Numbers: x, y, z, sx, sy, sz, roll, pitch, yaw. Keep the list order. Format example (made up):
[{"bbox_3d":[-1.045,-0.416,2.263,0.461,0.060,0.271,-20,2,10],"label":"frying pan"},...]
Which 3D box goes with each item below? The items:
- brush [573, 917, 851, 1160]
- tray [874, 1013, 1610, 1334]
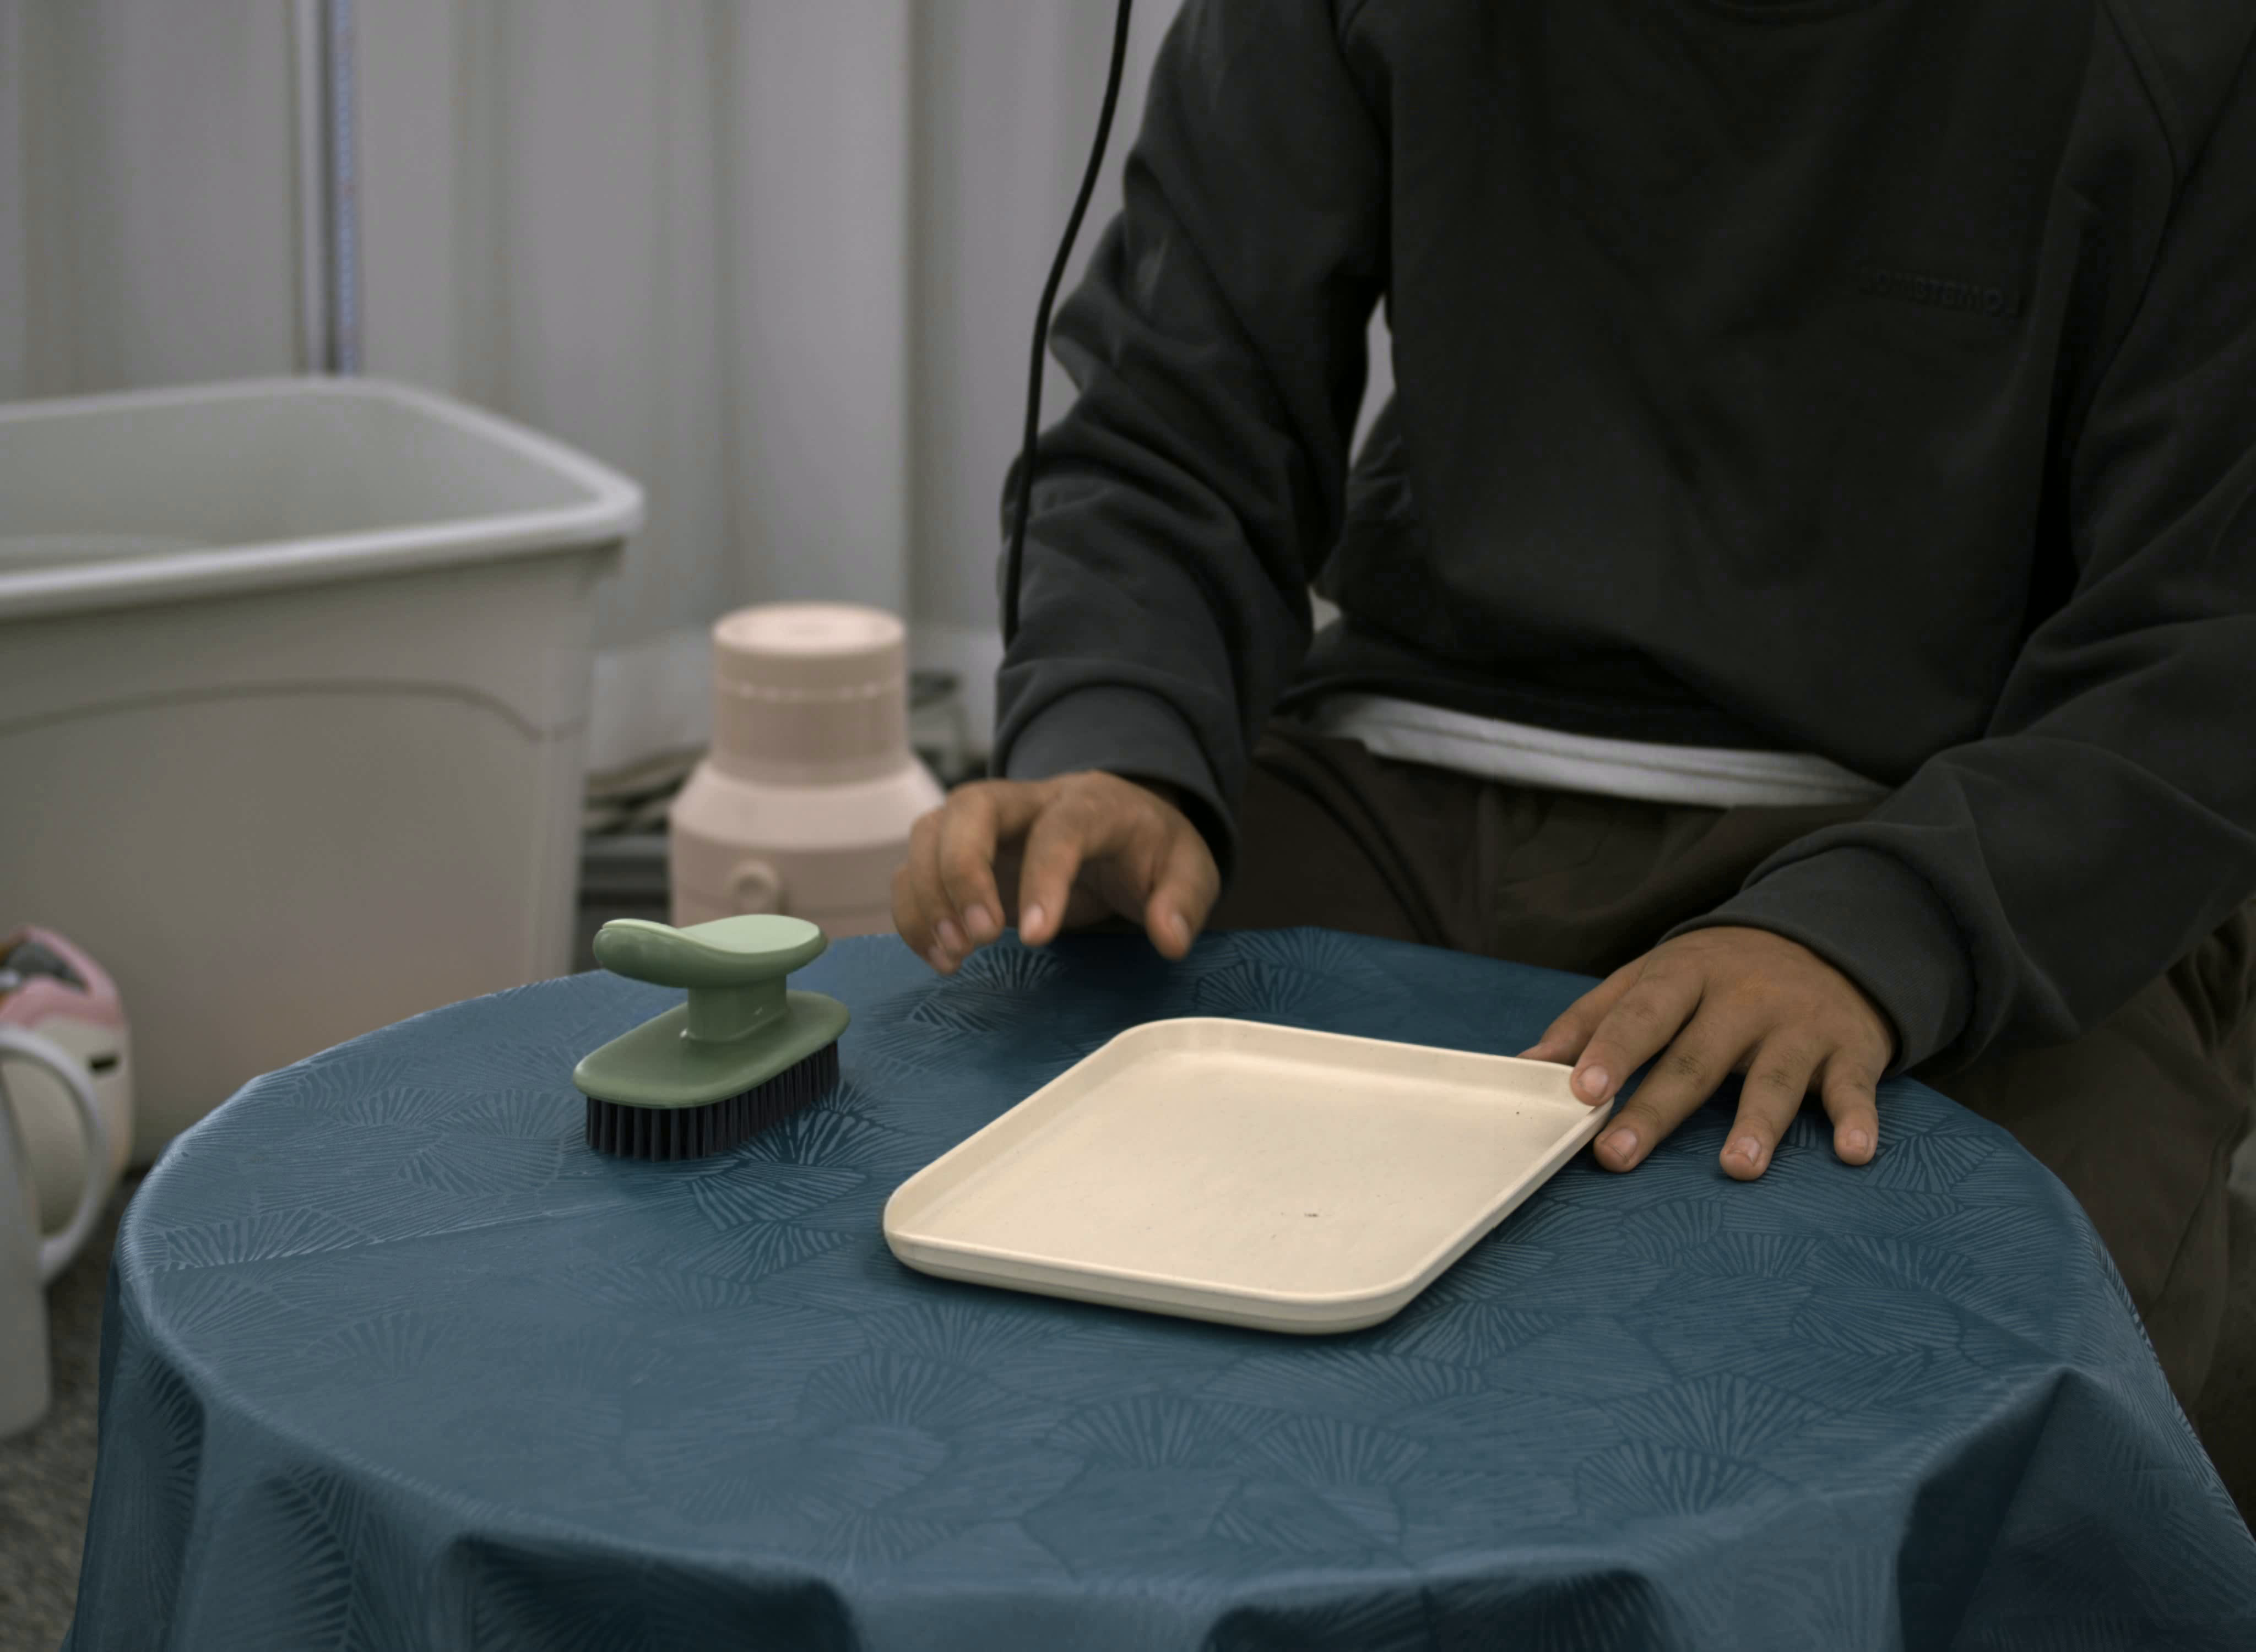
[{"bbox_3d":[-0.133,0.066,1.688,0.059,0.076,0.124,9,4,23],"label":"brush"},{"bbox_3d":[0.039,0.105,1.620,0.169,0.017,0.240,8,17,22],"label":"tray"}]
